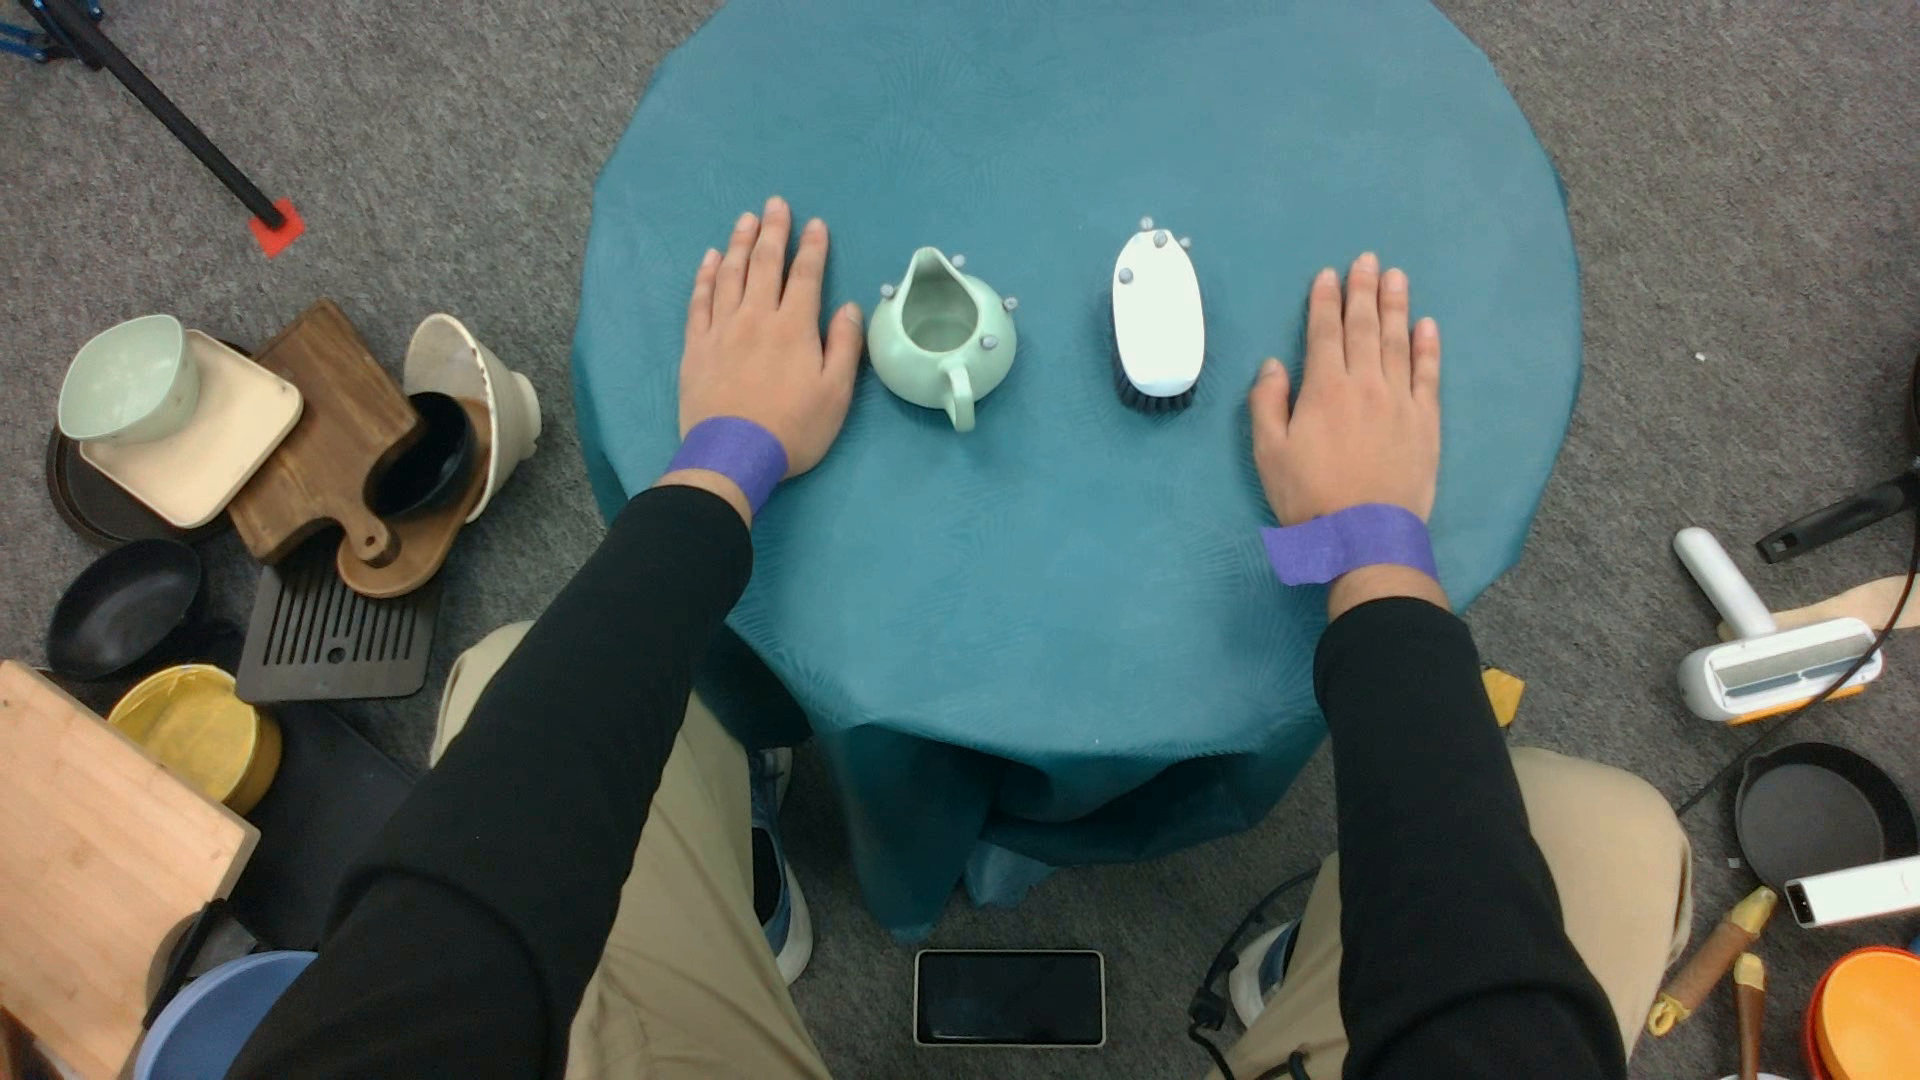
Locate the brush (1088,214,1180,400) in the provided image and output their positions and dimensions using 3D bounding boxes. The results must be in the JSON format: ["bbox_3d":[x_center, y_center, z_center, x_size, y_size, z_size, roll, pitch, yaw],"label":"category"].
[{"bbox_3d":[0.100,-0.138,0.779,0.050,0.072,0.099,-2,69,2],"label":"brush"}]

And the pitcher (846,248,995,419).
[{"bbox_3d":[-0.021,-0.108,0.775,0.086,0.060,0.108,5,53,-9],"label":"pitcher"}]
